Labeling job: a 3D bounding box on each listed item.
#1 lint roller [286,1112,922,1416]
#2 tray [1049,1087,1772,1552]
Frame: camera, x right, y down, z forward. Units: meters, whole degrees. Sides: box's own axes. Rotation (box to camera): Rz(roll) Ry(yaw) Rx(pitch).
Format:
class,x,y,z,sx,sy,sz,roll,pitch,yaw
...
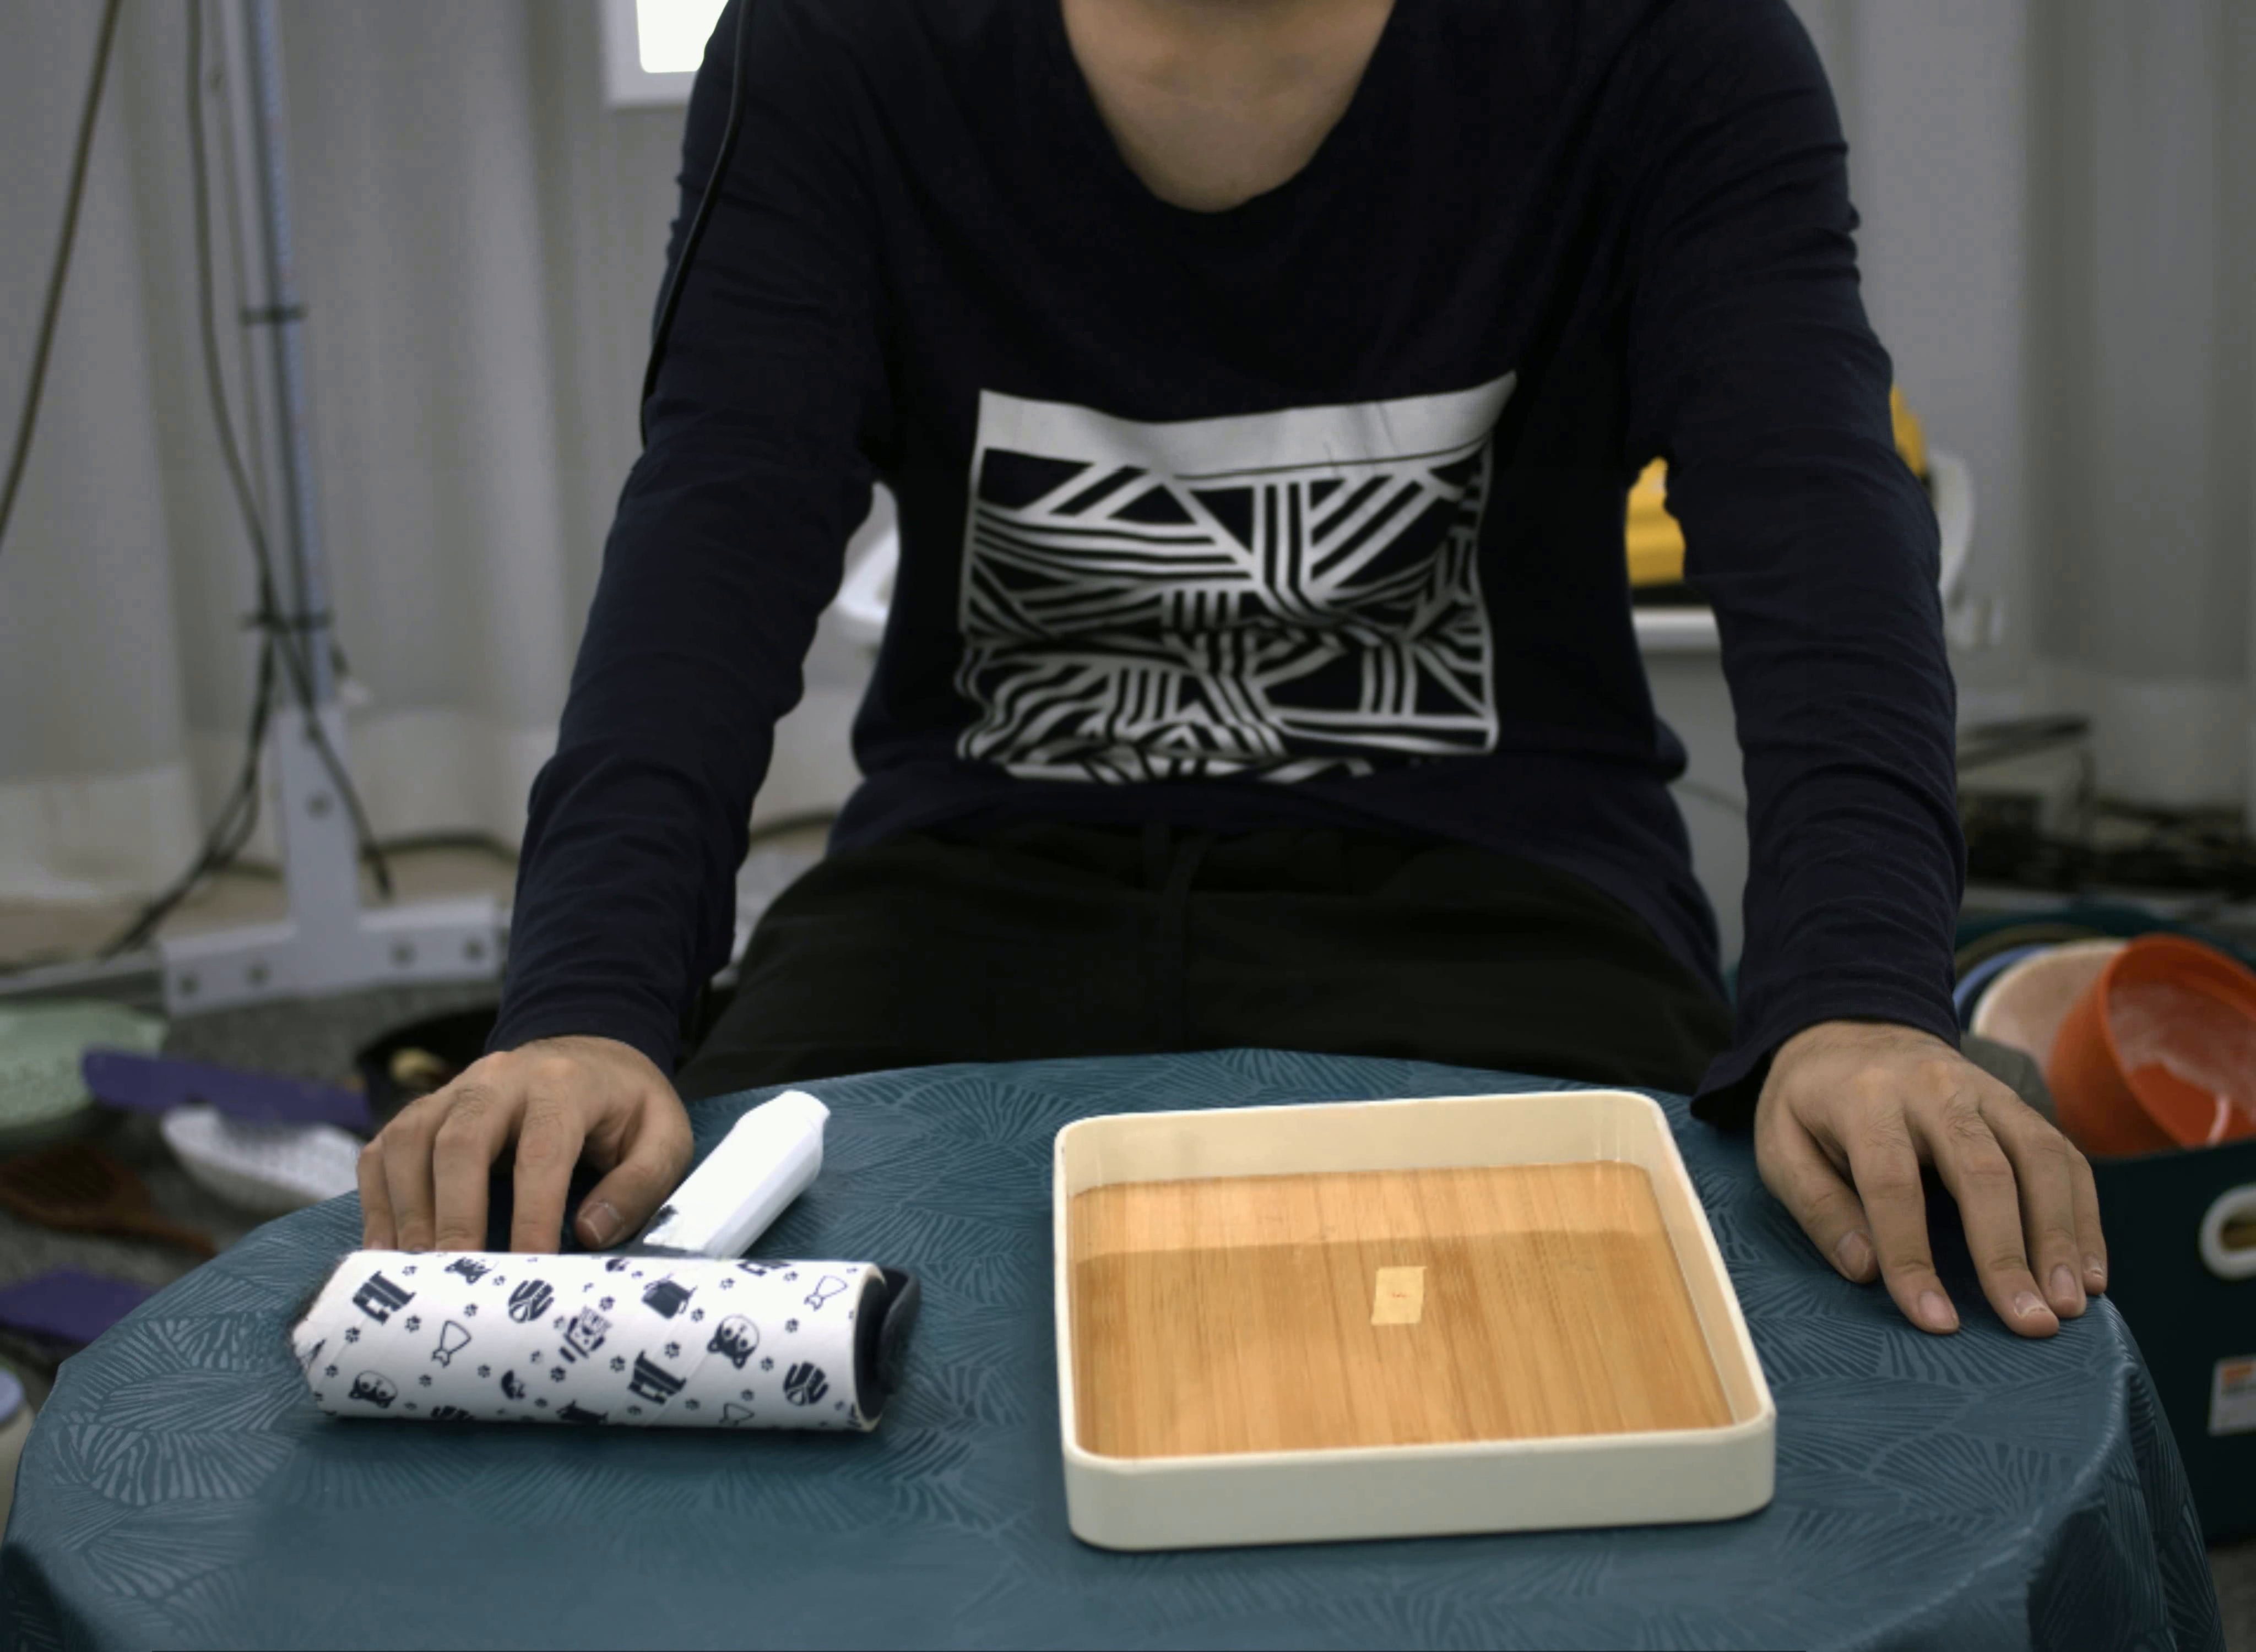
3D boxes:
class,x,y,z,sx,sy,sz,roll,pitch,yaw
lint roller,-0.131,0.121,1.637,0.176,0.050,0.248,-1,13,11
tray,0.073,0.136,1.568,0.191,0.027,0.302,-3,15,0
